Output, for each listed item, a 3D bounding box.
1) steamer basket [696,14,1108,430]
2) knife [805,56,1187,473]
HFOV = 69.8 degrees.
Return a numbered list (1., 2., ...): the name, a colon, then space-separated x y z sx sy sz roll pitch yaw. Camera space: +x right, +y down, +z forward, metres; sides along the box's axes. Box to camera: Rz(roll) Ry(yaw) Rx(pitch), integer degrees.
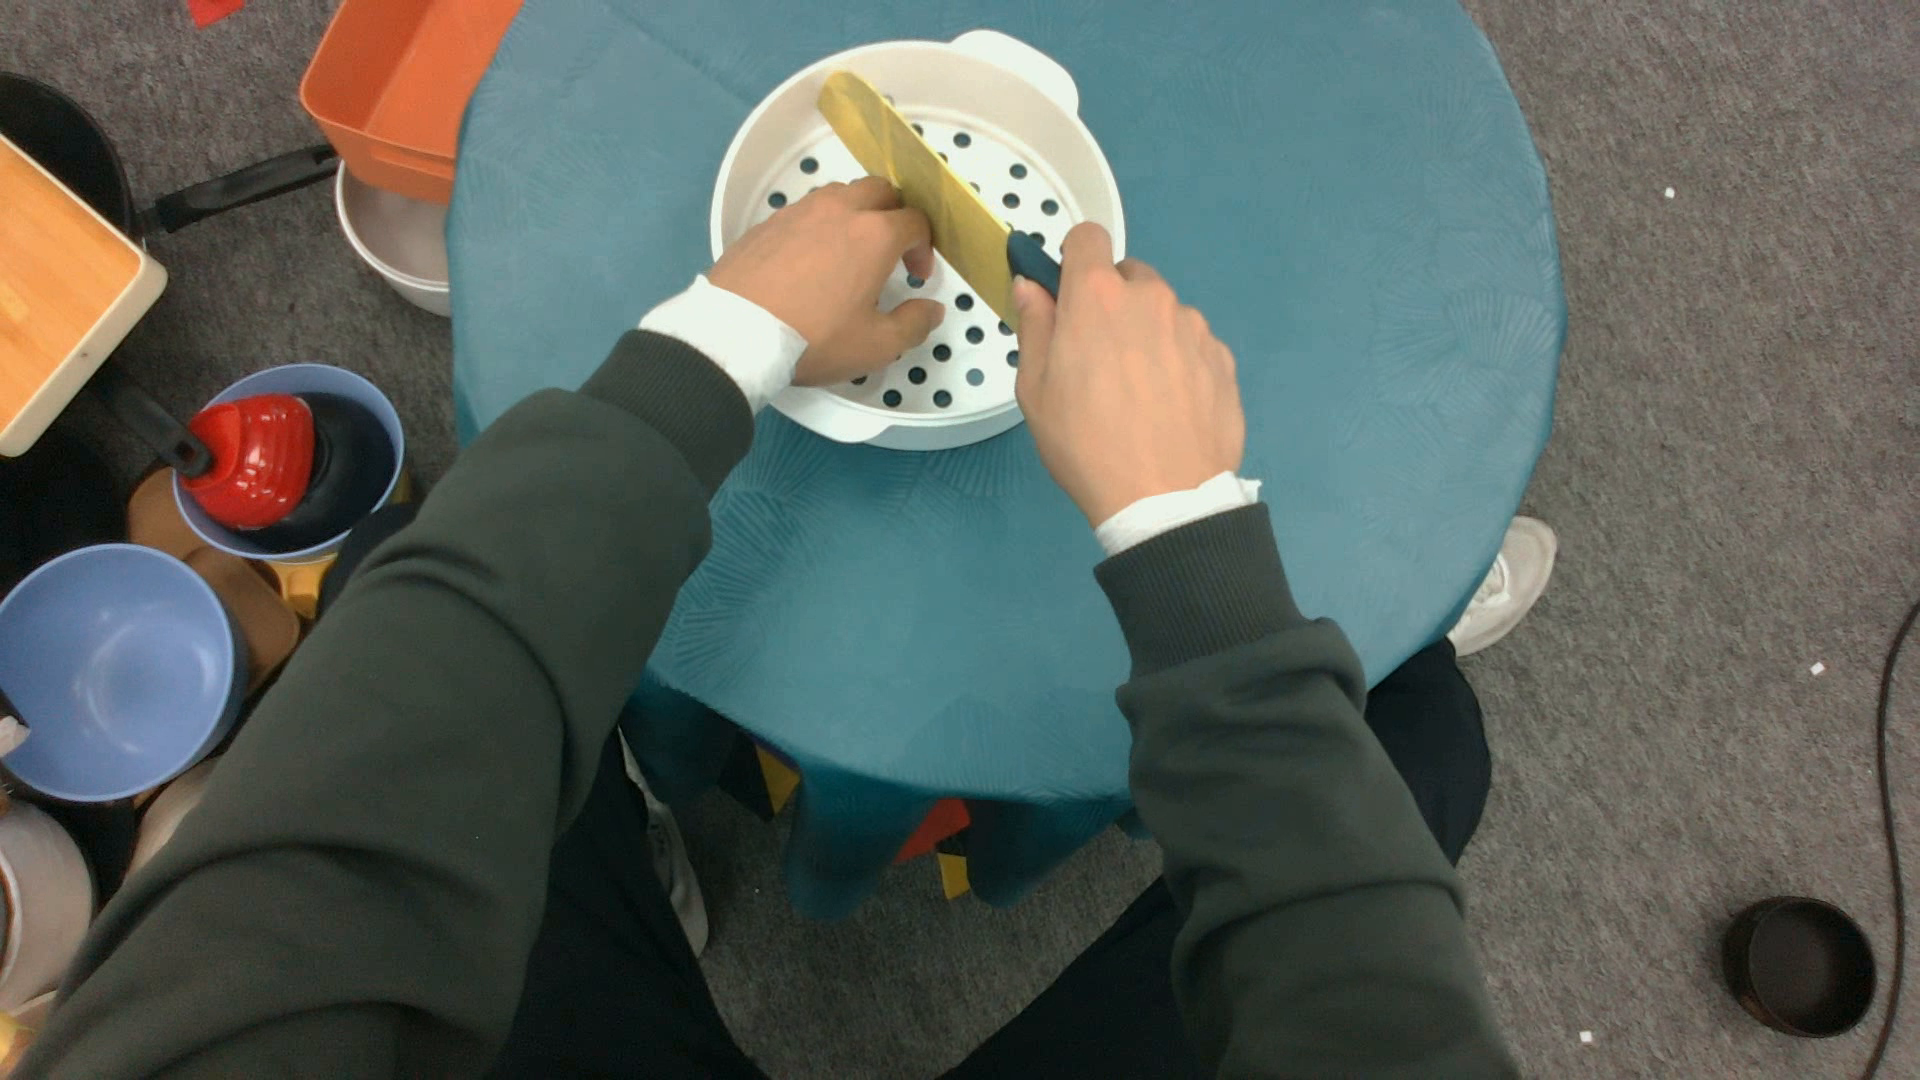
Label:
1. steamer basket: -0.029 -0.155 0.699 0.202 0.069 0.231 29 77 2
2. knife: 0.006 -0.132 0.642 0.027 0.081 0.290 -34 67 -13
